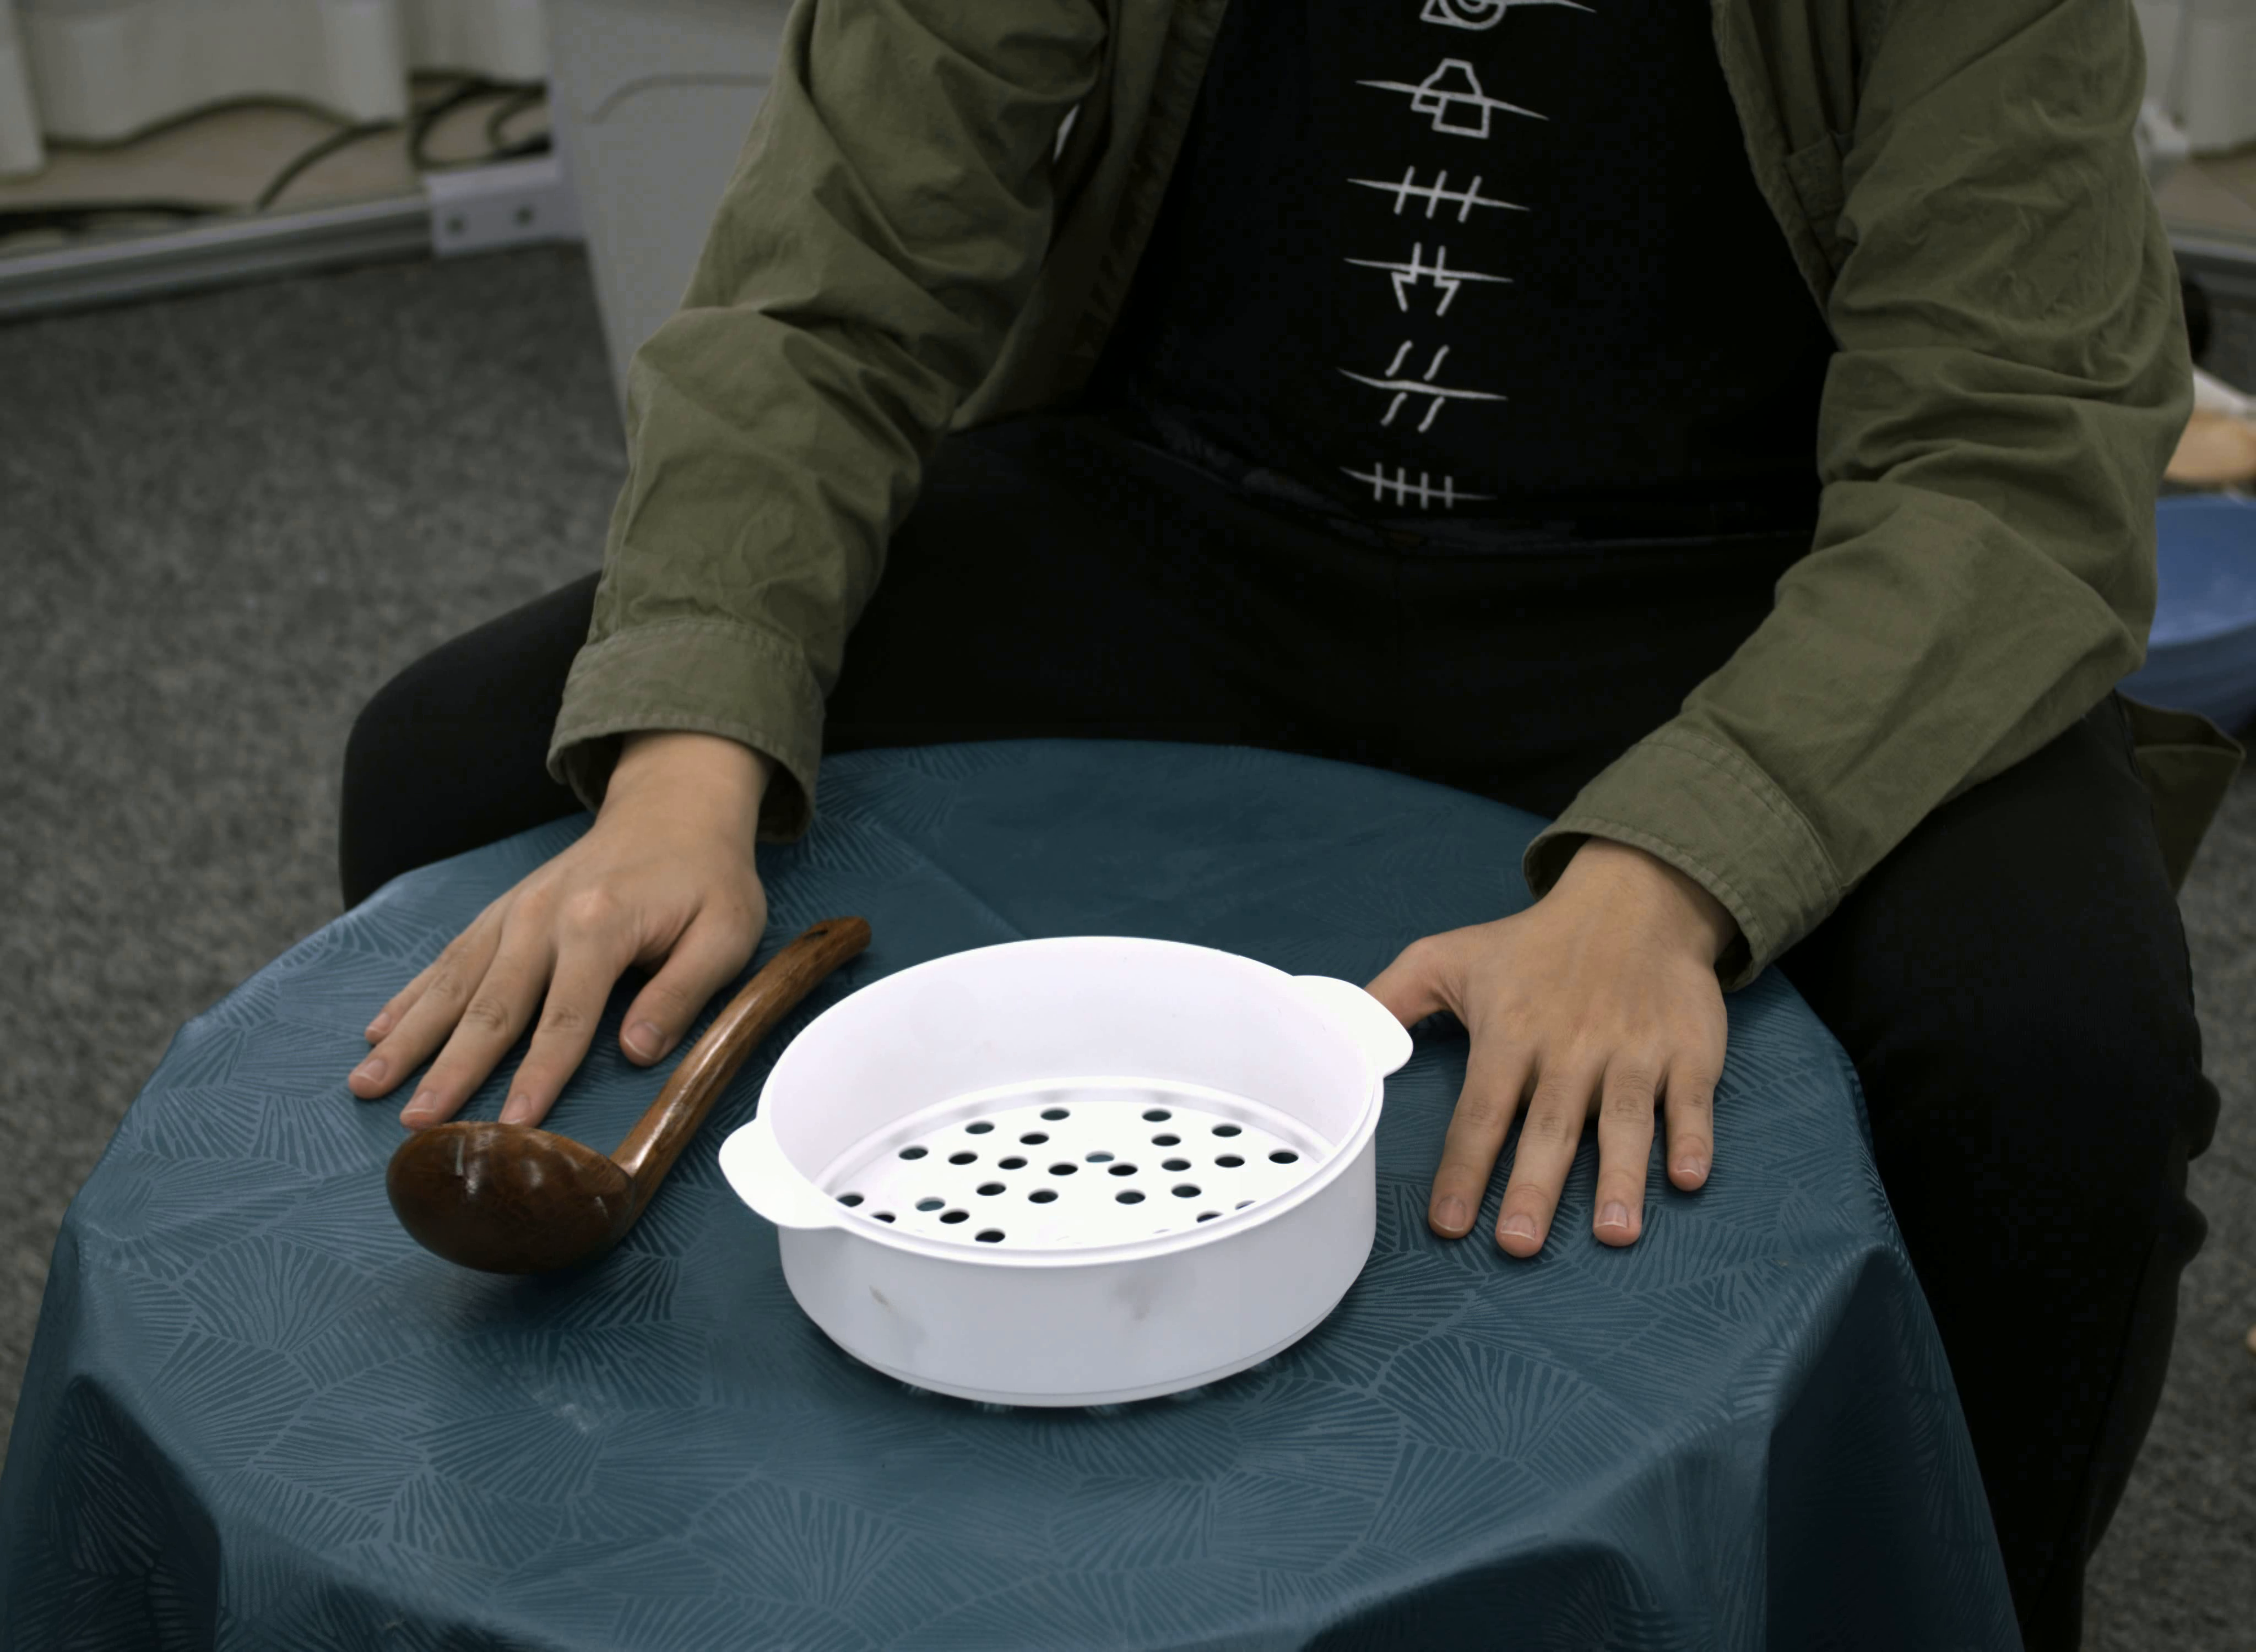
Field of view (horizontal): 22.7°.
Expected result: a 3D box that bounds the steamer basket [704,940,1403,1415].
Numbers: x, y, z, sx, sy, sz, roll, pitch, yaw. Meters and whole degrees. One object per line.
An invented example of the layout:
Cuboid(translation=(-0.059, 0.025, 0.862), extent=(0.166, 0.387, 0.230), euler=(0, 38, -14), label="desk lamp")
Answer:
Cuboid(translation=(-0.022, 0.113, 1.802), extent=(0.231, 0.068, 0.203), euler=(-13, 29, -20), label="steamer basket")

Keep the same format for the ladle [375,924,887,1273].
Cuboid(translation=(-0.161, 0.071, 1.890), extent=(0.081, 0.076, 0.279), euler=(-6, 23, 28), label="ladle")
